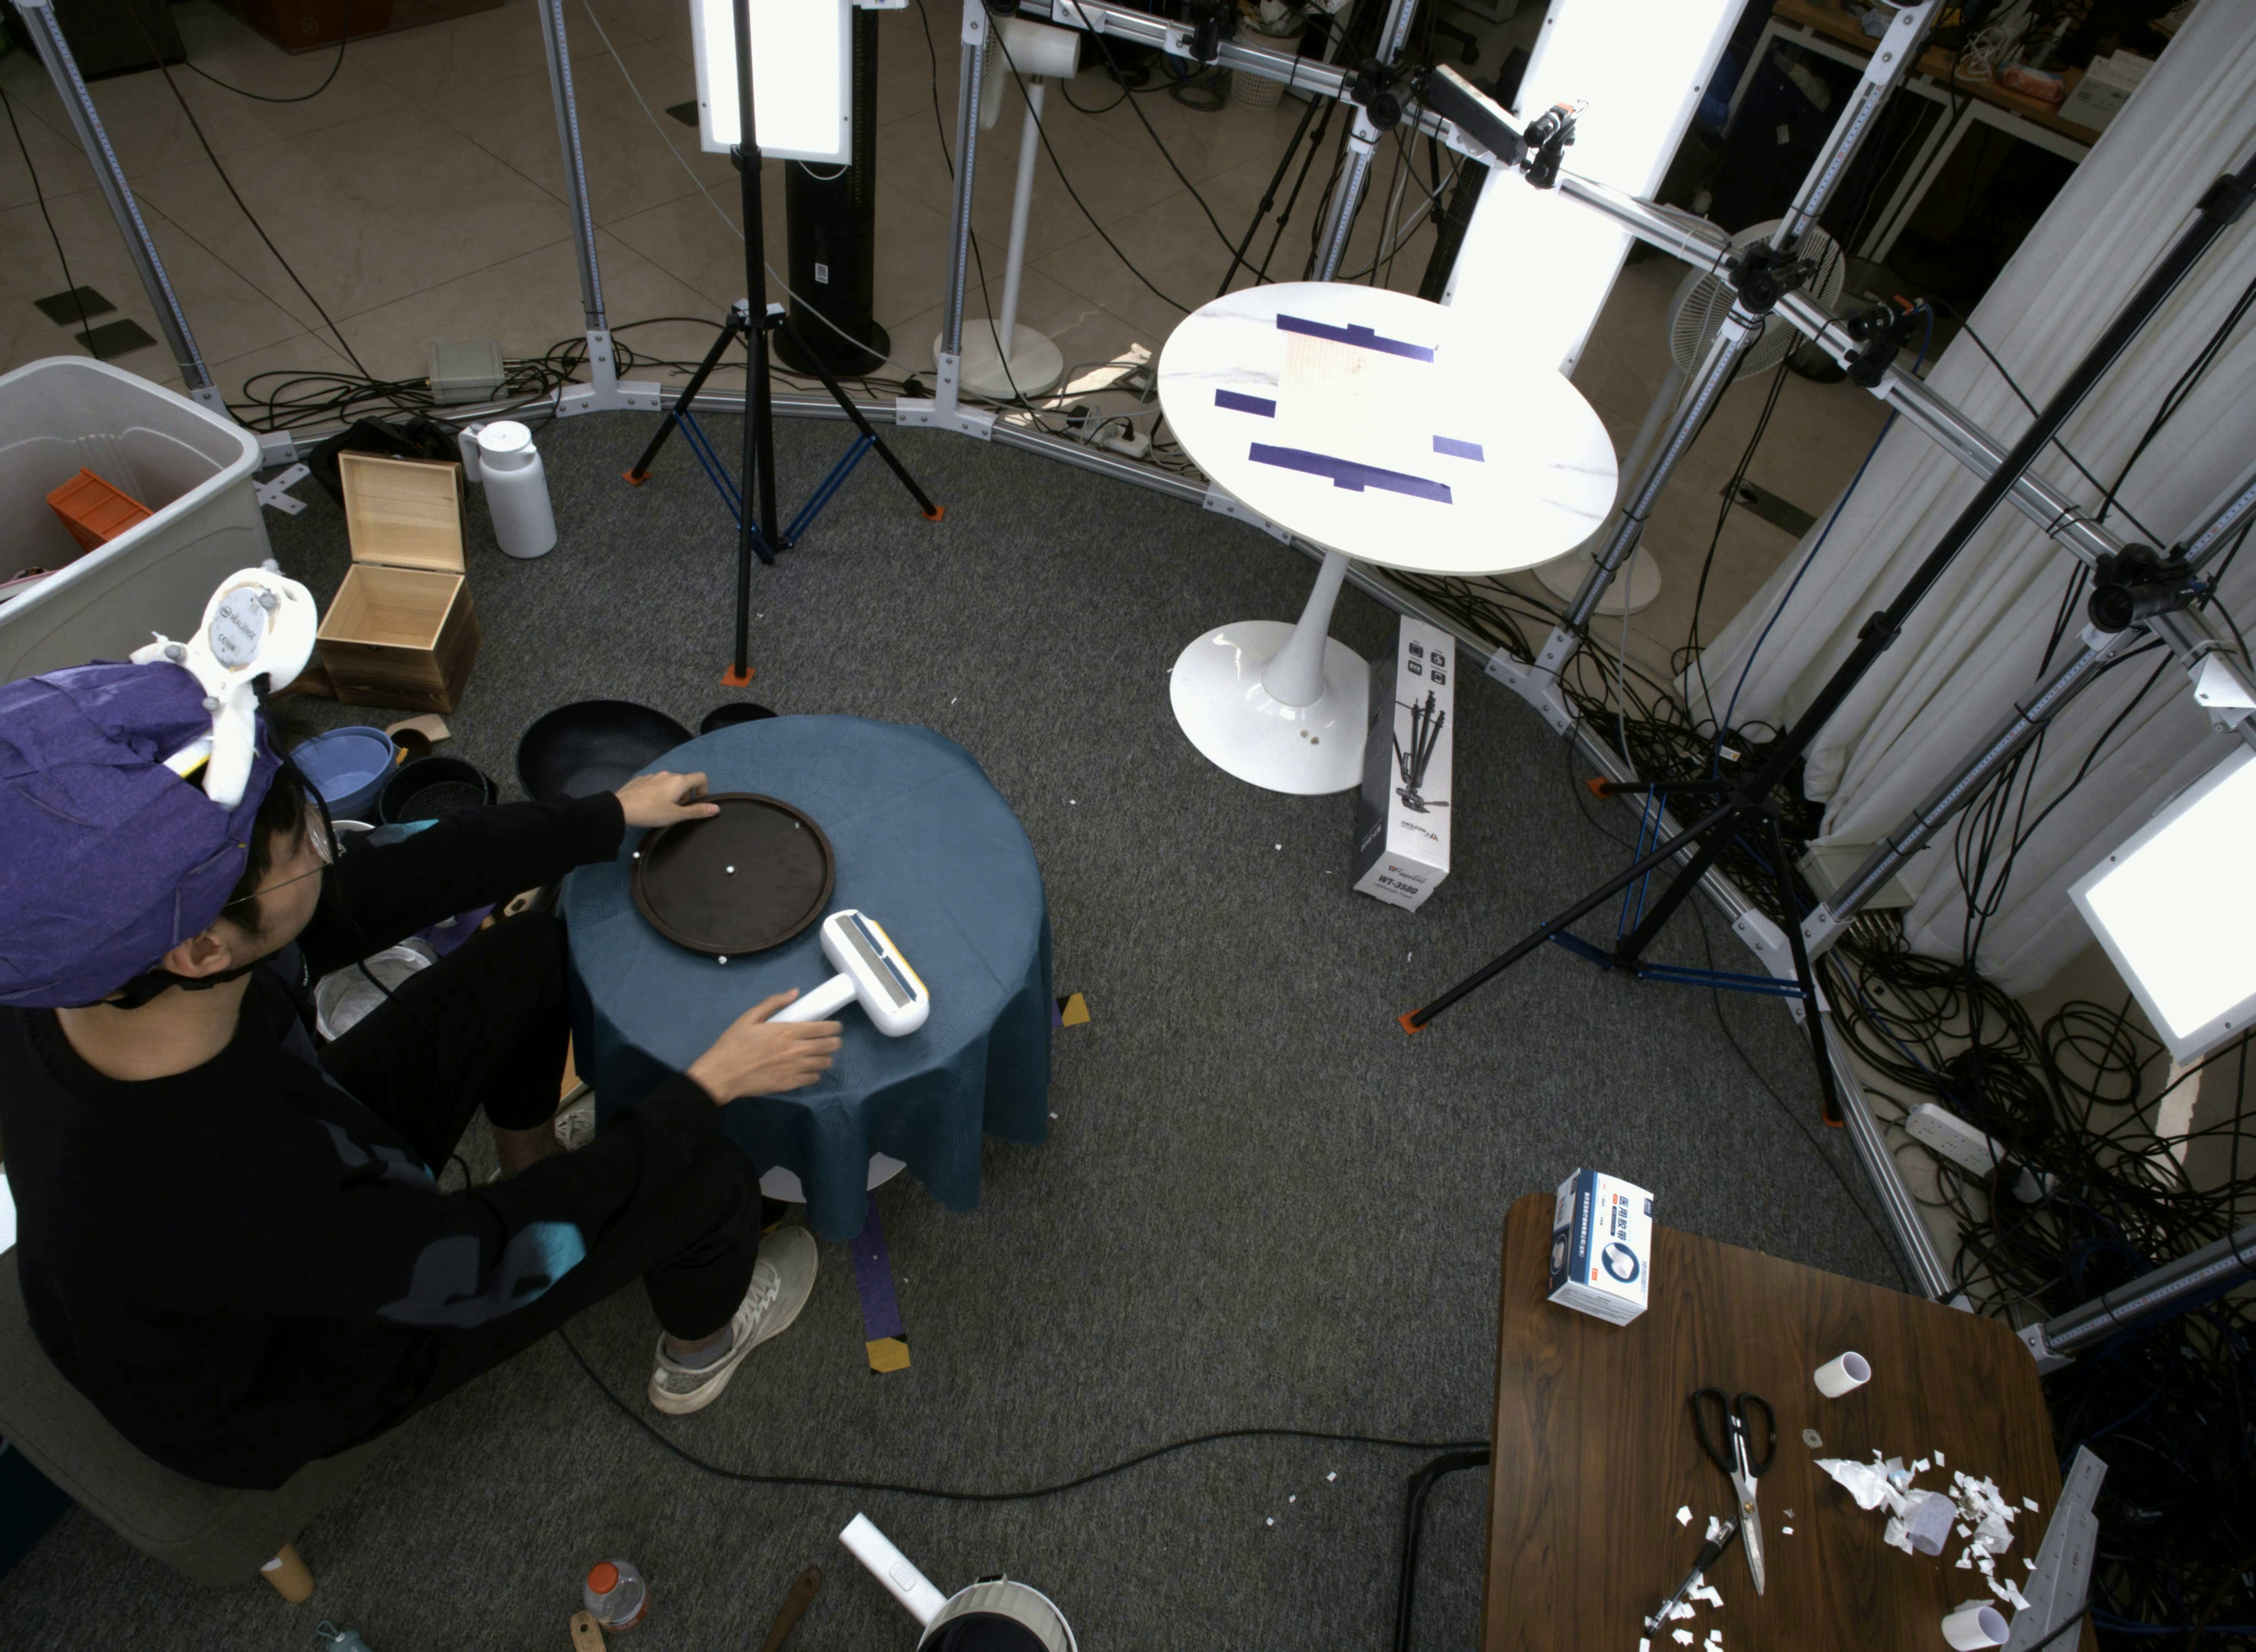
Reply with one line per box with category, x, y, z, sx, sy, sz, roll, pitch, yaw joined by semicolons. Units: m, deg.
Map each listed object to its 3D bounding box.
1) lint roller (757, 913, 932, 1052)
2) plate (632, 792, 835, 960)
lint roller;-0.354;0.204;1.554;0.193;0.076;0.187;-22;57;-26
plate;-0.502;0.060;1.650;0.254;0.029;0.250;7;54;-8
